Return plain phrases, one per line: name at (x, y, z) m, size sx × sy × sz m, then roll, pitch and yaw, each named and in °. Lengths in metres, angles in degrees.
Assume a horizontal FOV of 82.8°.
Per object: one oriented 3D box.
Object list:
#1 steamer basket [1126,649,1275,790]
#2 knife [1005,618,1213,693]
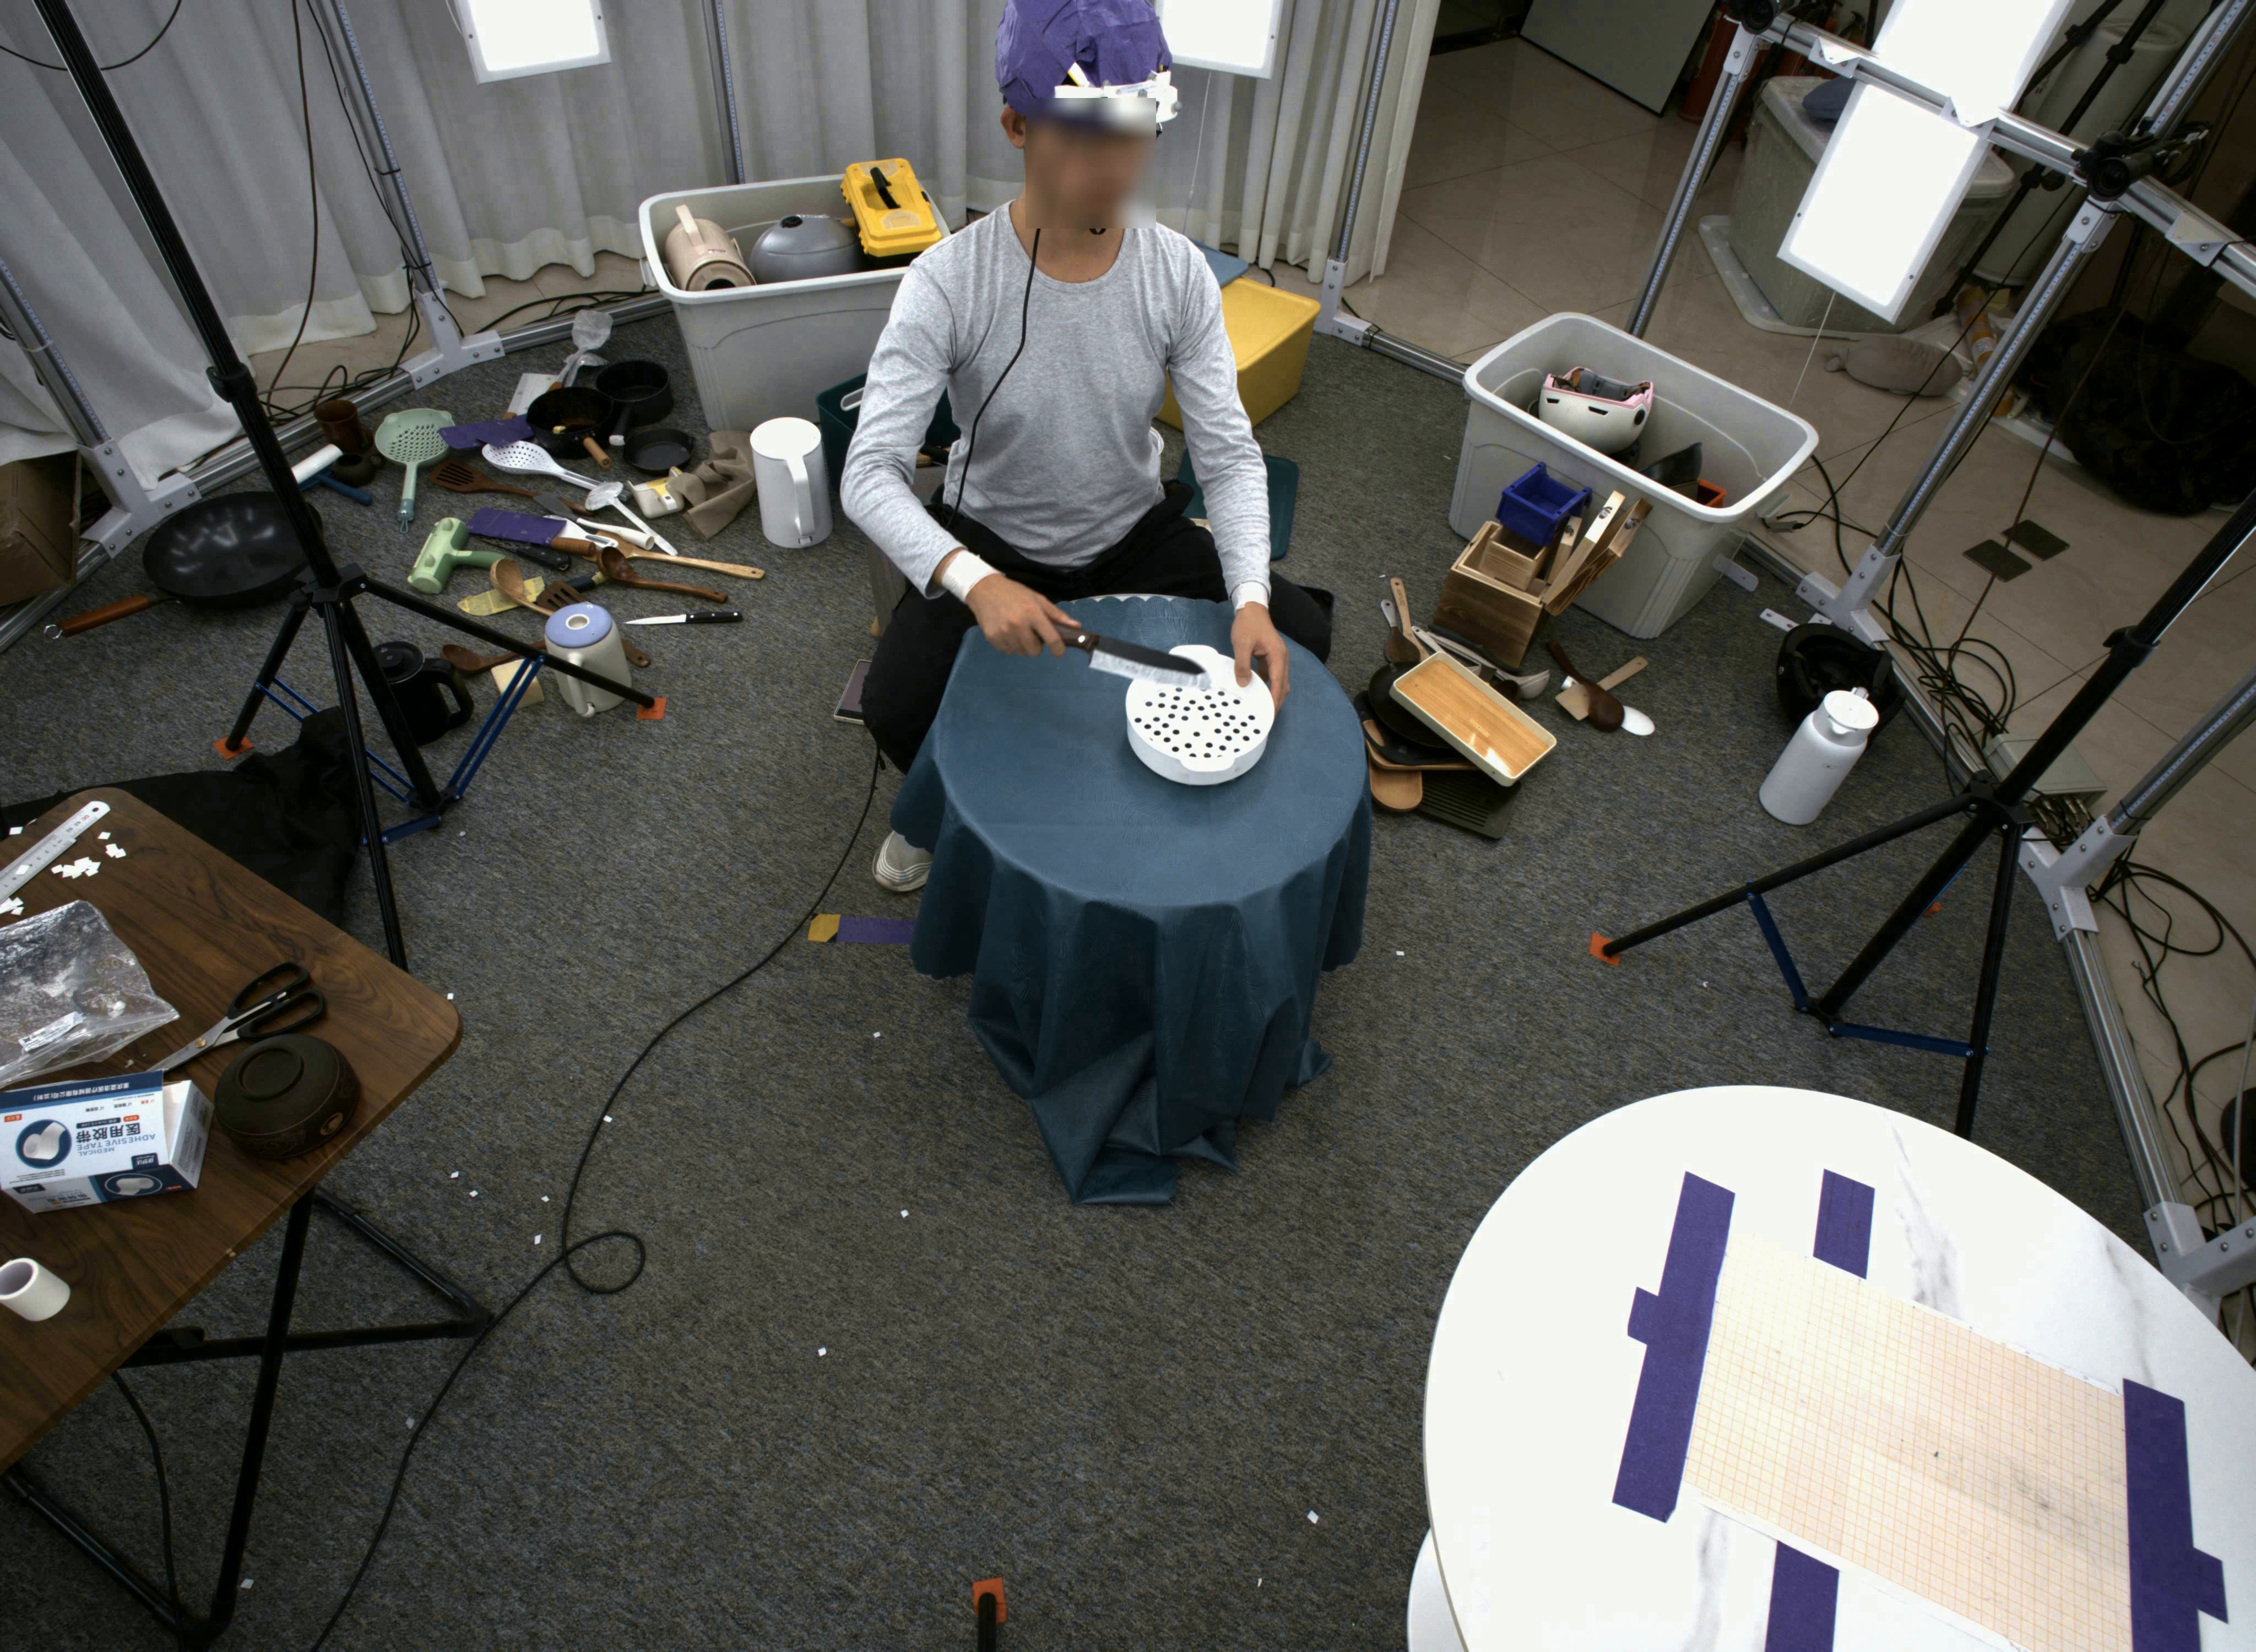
steamer basket at (0.097, -0.141, 1.750) m, size 0.201 × 0.067 × 0.236 m, roll -1°, pitch 51°, yaw -3°
knife at (-0.026, -0.222, 1.668) m, size 0.290 × 0.050 × 0.020 m, roll 18°, pitch 6°, yaw 8°
